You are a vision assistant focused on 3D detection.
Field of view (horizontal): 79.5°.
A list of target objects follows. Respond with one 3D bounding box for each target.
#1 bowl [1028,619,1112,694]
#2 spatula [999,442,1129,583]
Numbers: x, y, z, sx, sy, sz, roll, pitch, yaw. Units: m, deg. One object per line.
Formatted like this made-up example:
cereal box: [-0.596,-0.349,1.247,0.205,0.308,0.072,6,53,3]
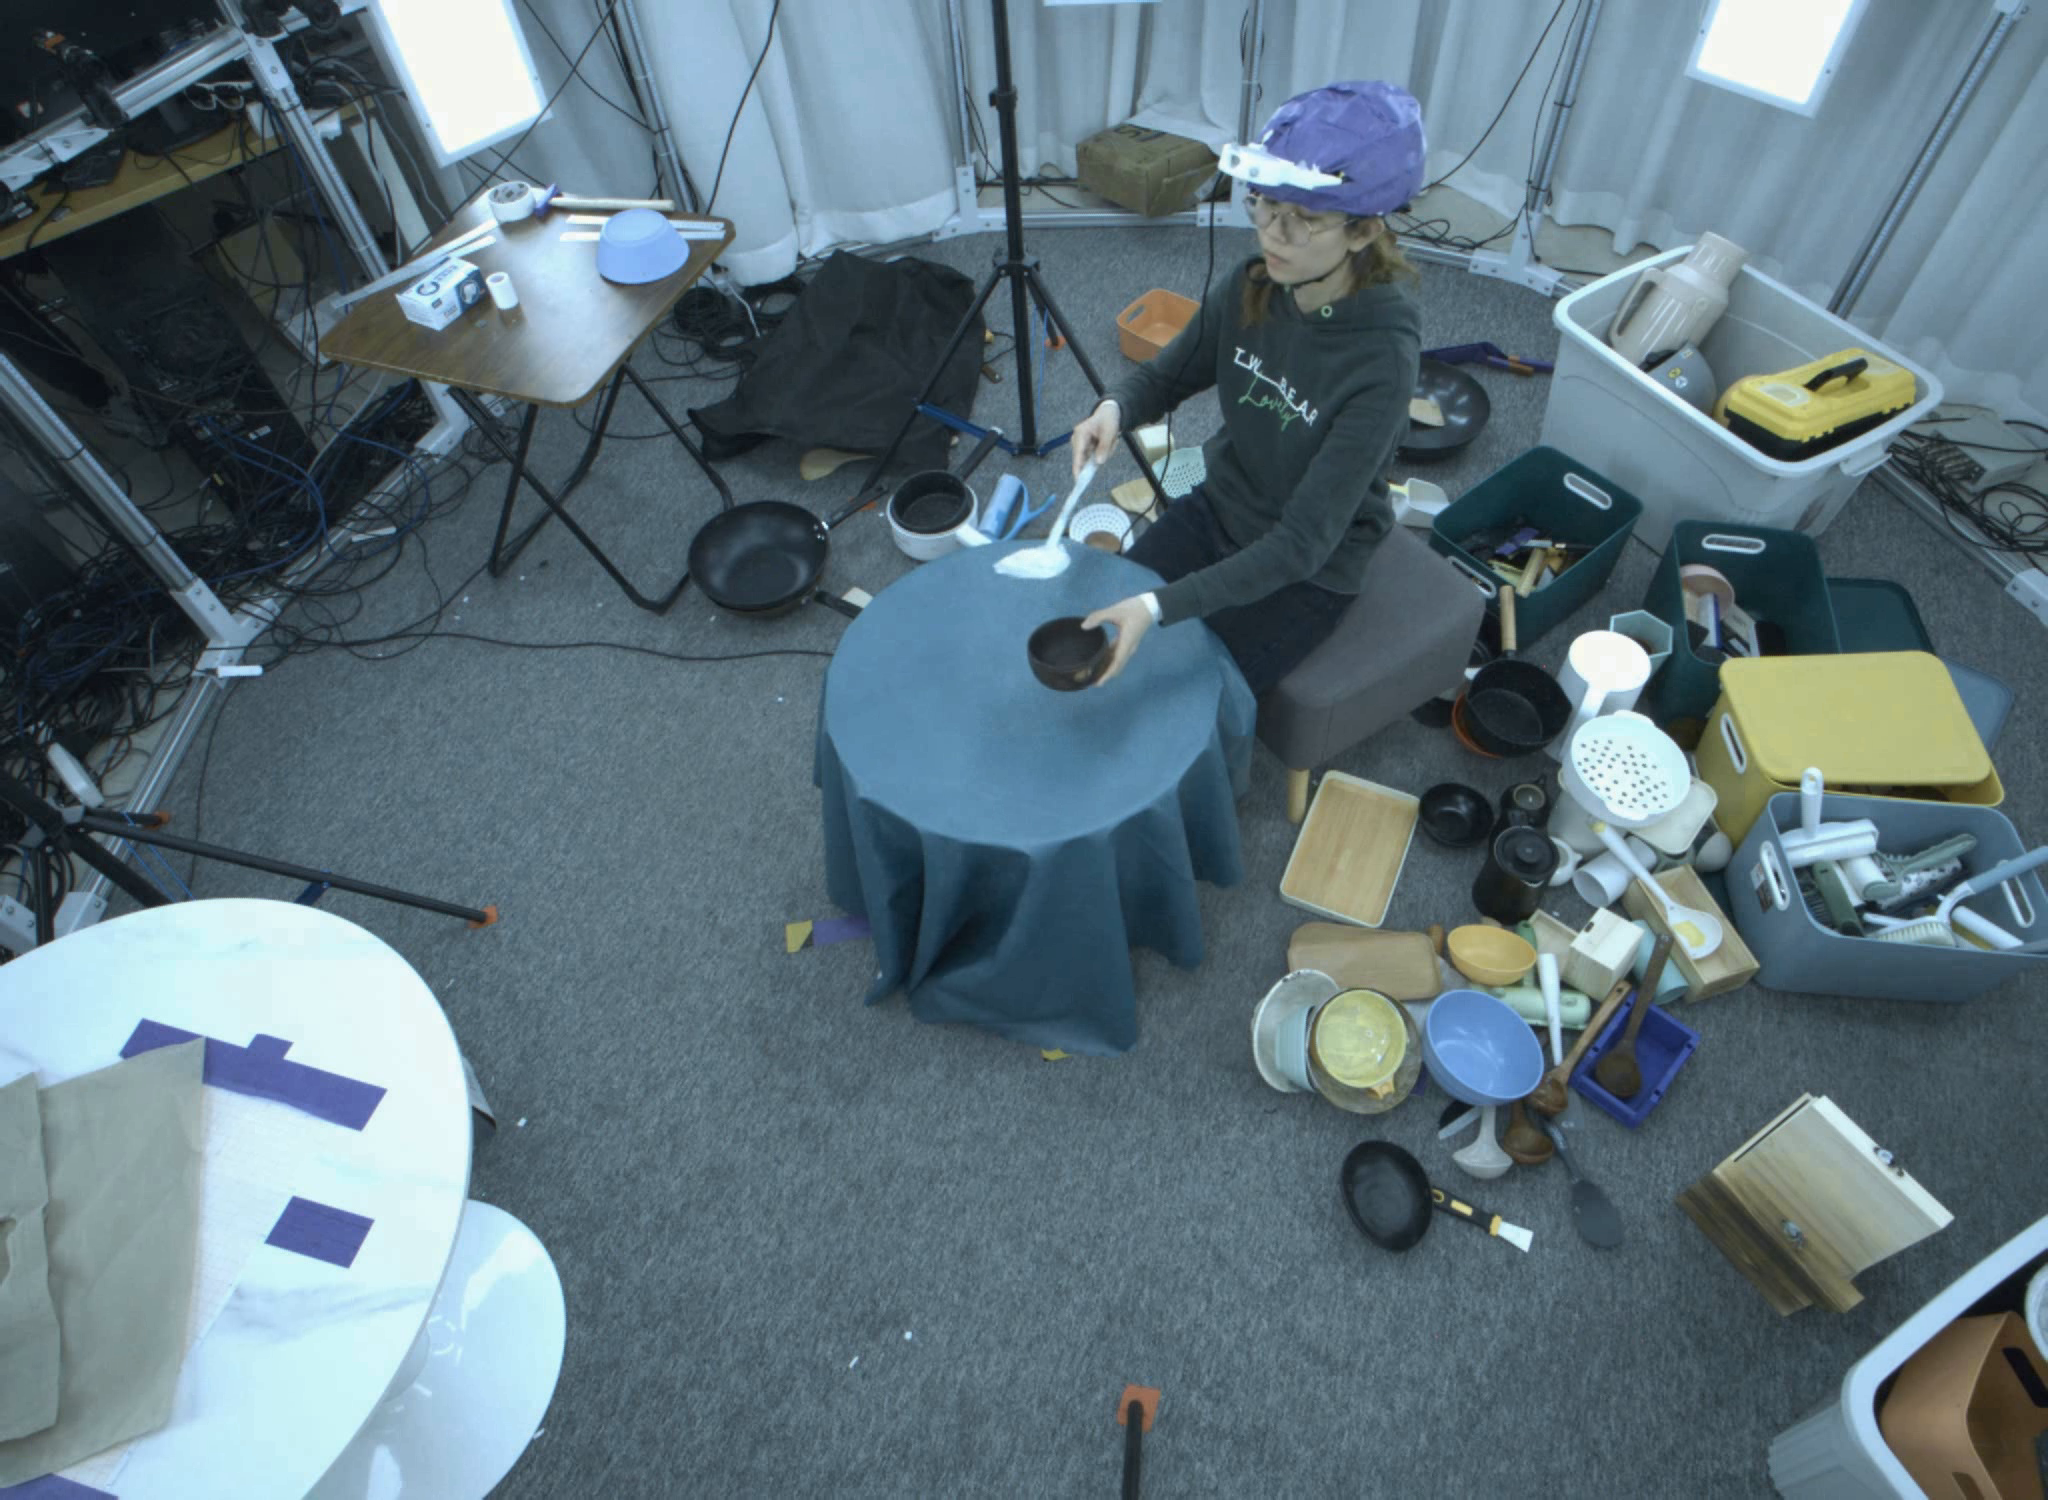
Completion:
bowl: [0.068,-0.124,1.745,0.117,0.071,0.117,-4,45,6]
spatula: [0.075,-0.354,1.775,0.097,0.045,0.365,11,55,24]
